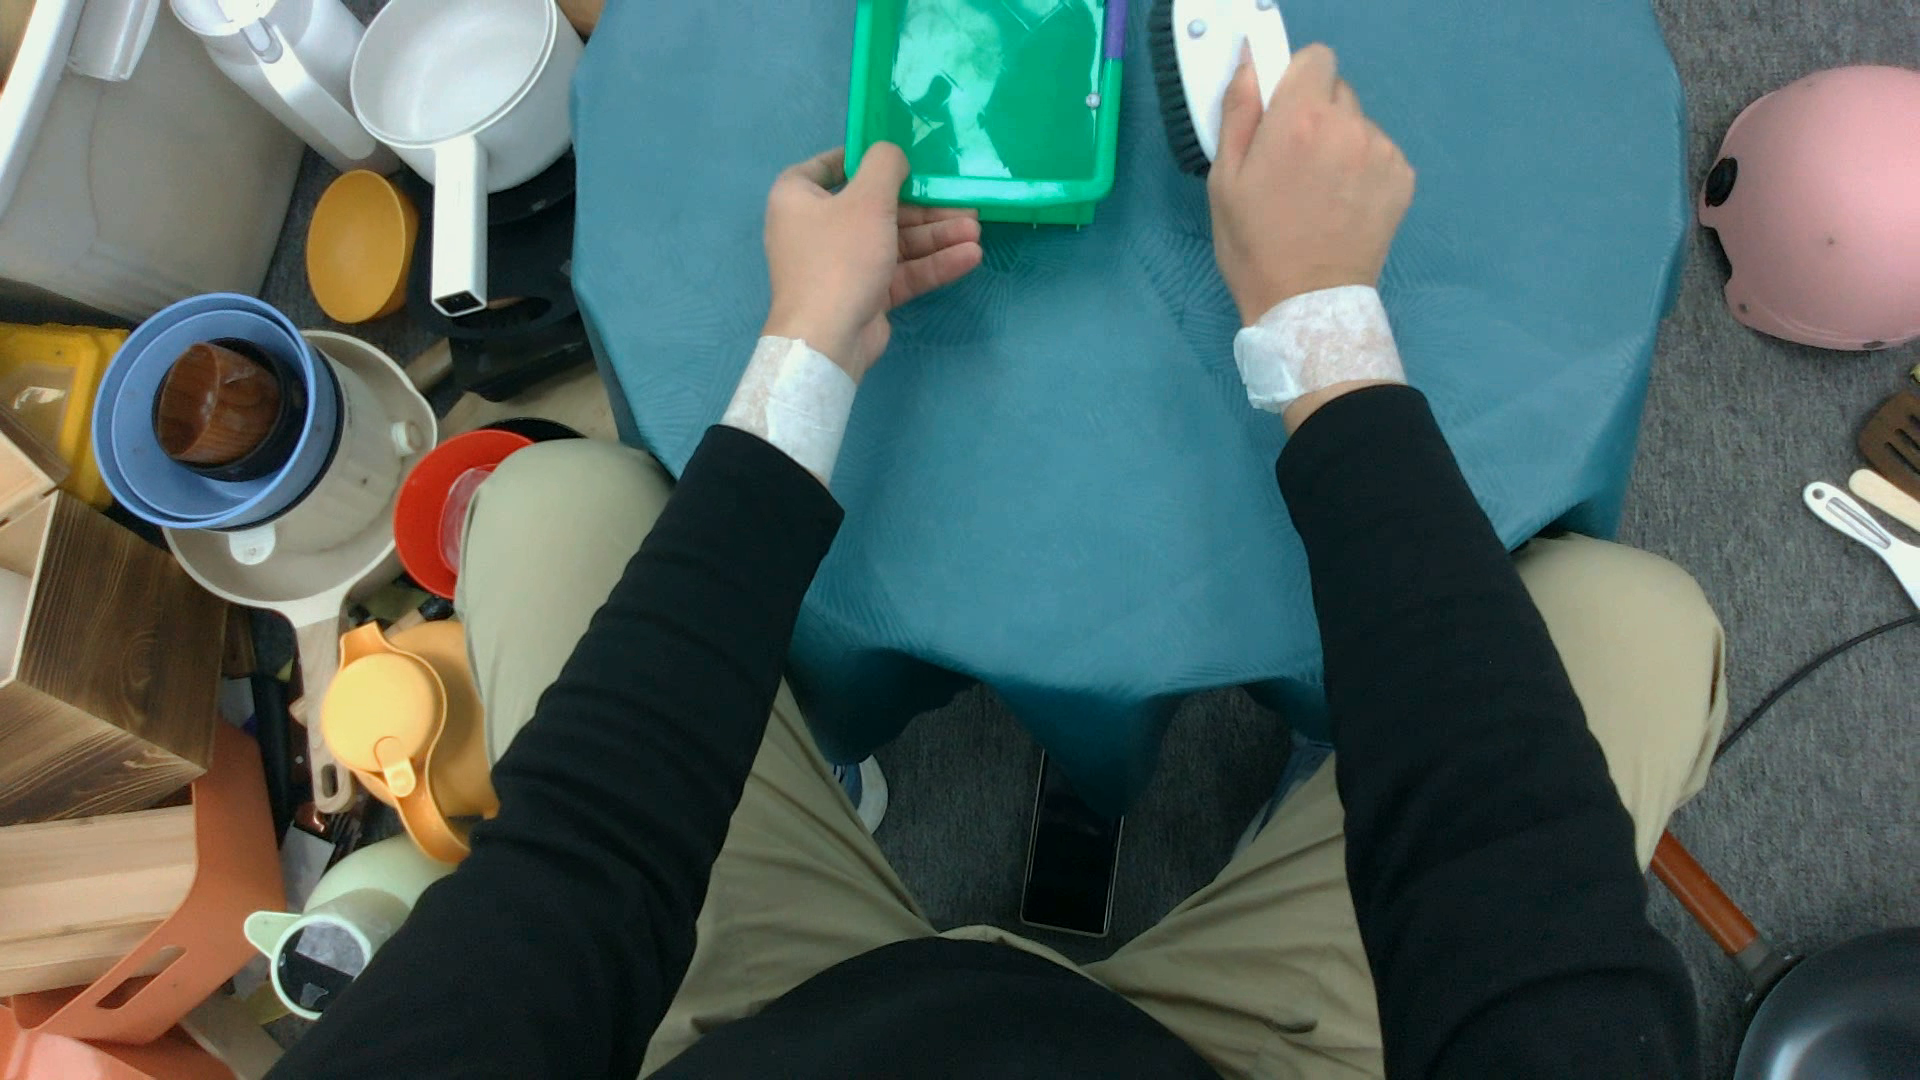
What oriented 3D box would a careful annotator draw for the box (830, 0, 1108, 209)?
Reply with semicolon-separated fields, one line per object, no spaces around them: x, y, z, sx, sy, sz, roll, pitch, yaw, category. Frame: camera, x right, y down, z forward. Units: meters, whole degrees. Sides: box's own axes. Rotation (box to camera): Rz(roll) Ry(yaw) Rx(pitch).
0.009;-0.277;0.736;0.138;0.065;0.211;3;80;2;box

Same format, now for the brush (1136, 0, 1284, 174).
0.126;-0.229;0.659;0.050;0.072;0.099;-16;103;-20;brush
